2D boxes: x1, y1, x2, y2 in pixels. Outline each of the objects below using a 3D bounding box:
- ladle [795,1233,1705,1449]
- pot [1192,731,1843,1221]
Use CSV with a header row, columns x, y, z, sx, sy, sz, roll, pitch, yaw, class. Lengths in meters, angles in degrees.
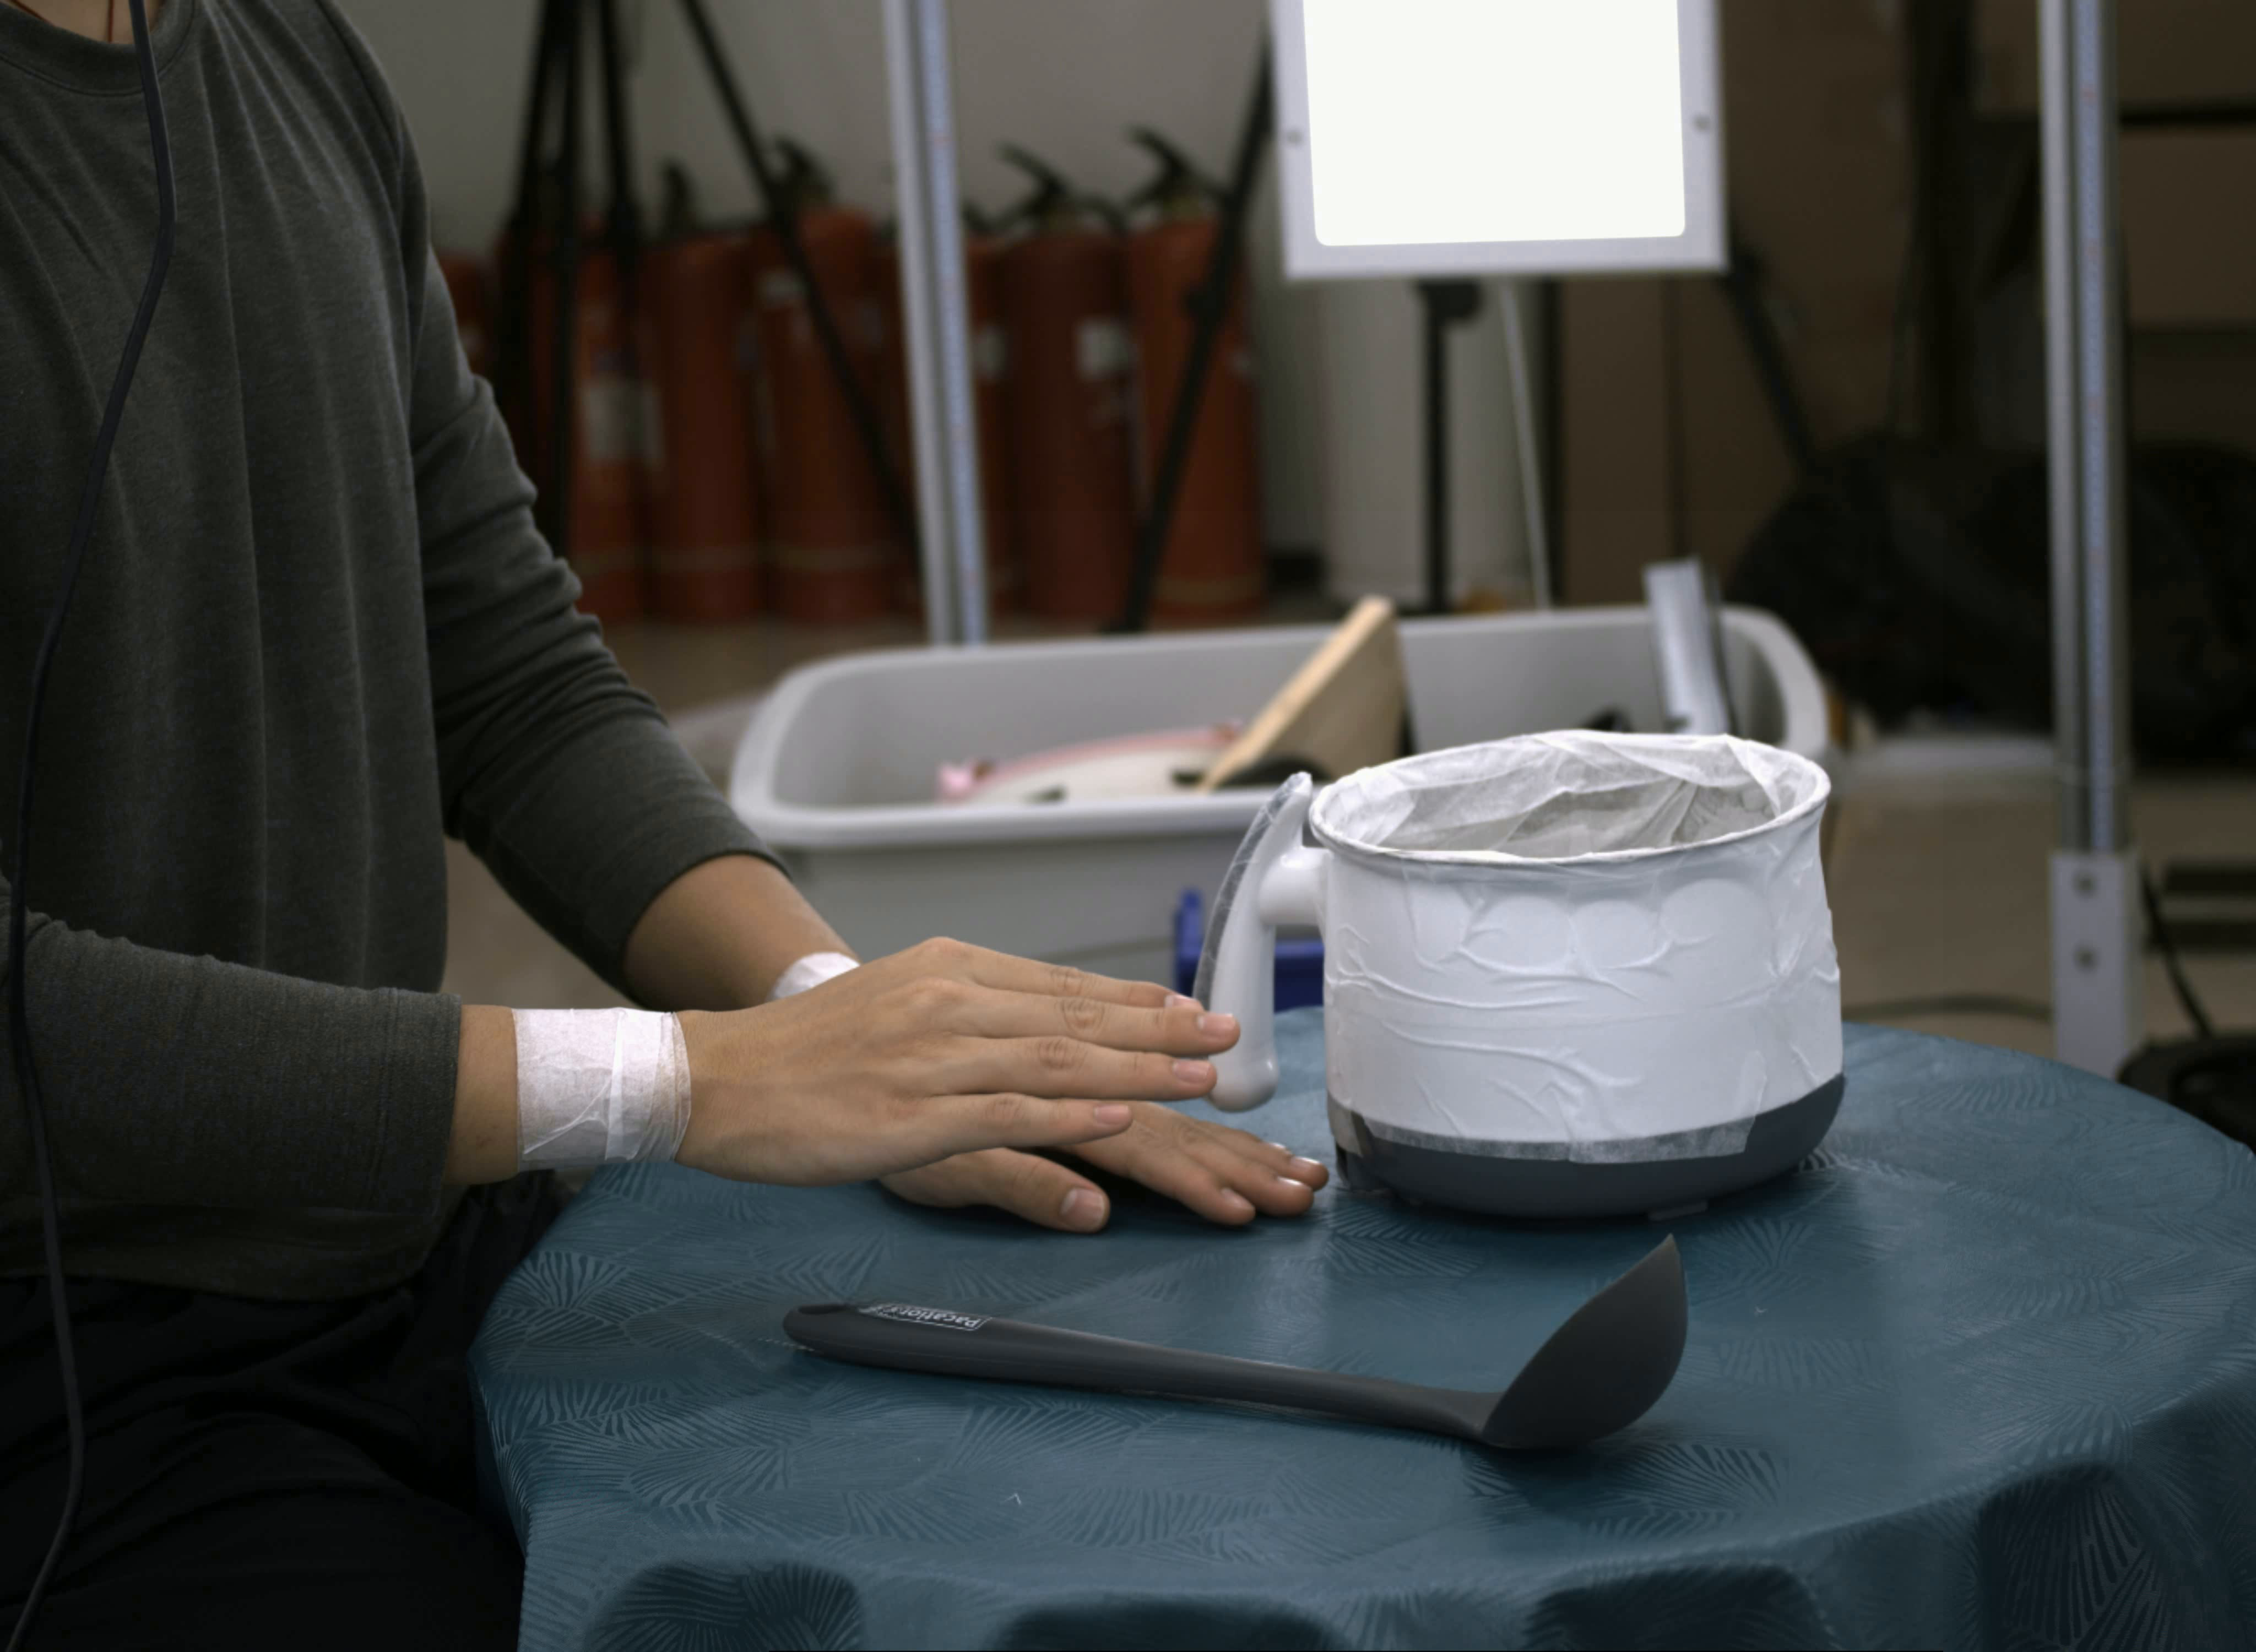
x,y,z,sx,sy,sz,roll,pitch,yaw,class
0.028,0.147,1.677,0.320,0.064,0.084,3,13,32,ladle
0.129,0.050,1.882,0.237,0.137,0.175,1,15,25,pot
